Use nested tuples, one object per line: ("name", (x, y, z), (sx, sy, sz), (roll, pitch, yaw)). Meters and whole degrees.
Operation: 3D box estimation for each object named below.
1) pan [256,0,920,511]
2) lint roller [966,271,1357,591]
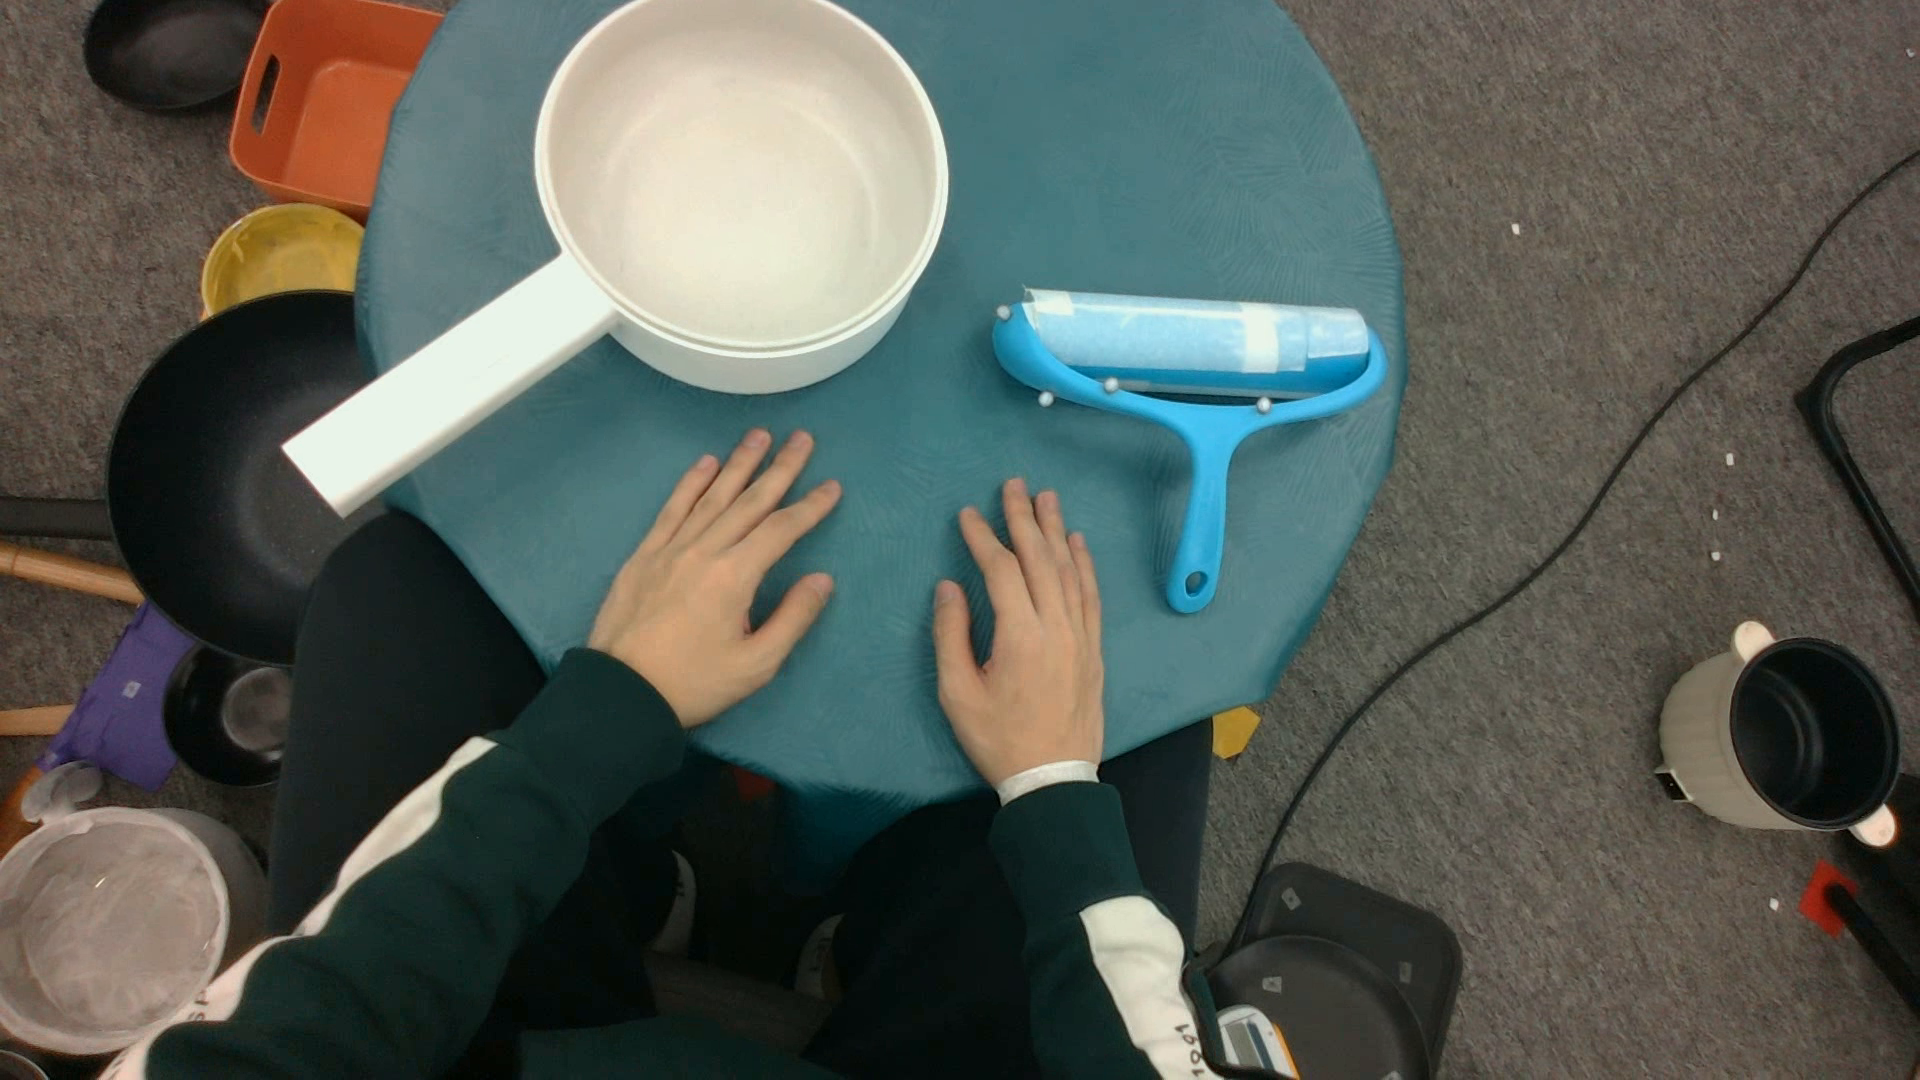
("pan", (-0.182, -0.133, 0.704), (0.356, 0.102, 0.201), (-42, 89, -16))
("lint roller", (0.121, -0.065, 0.772), (0.229, 0.068, 0.180), (-2, 78, -14))
